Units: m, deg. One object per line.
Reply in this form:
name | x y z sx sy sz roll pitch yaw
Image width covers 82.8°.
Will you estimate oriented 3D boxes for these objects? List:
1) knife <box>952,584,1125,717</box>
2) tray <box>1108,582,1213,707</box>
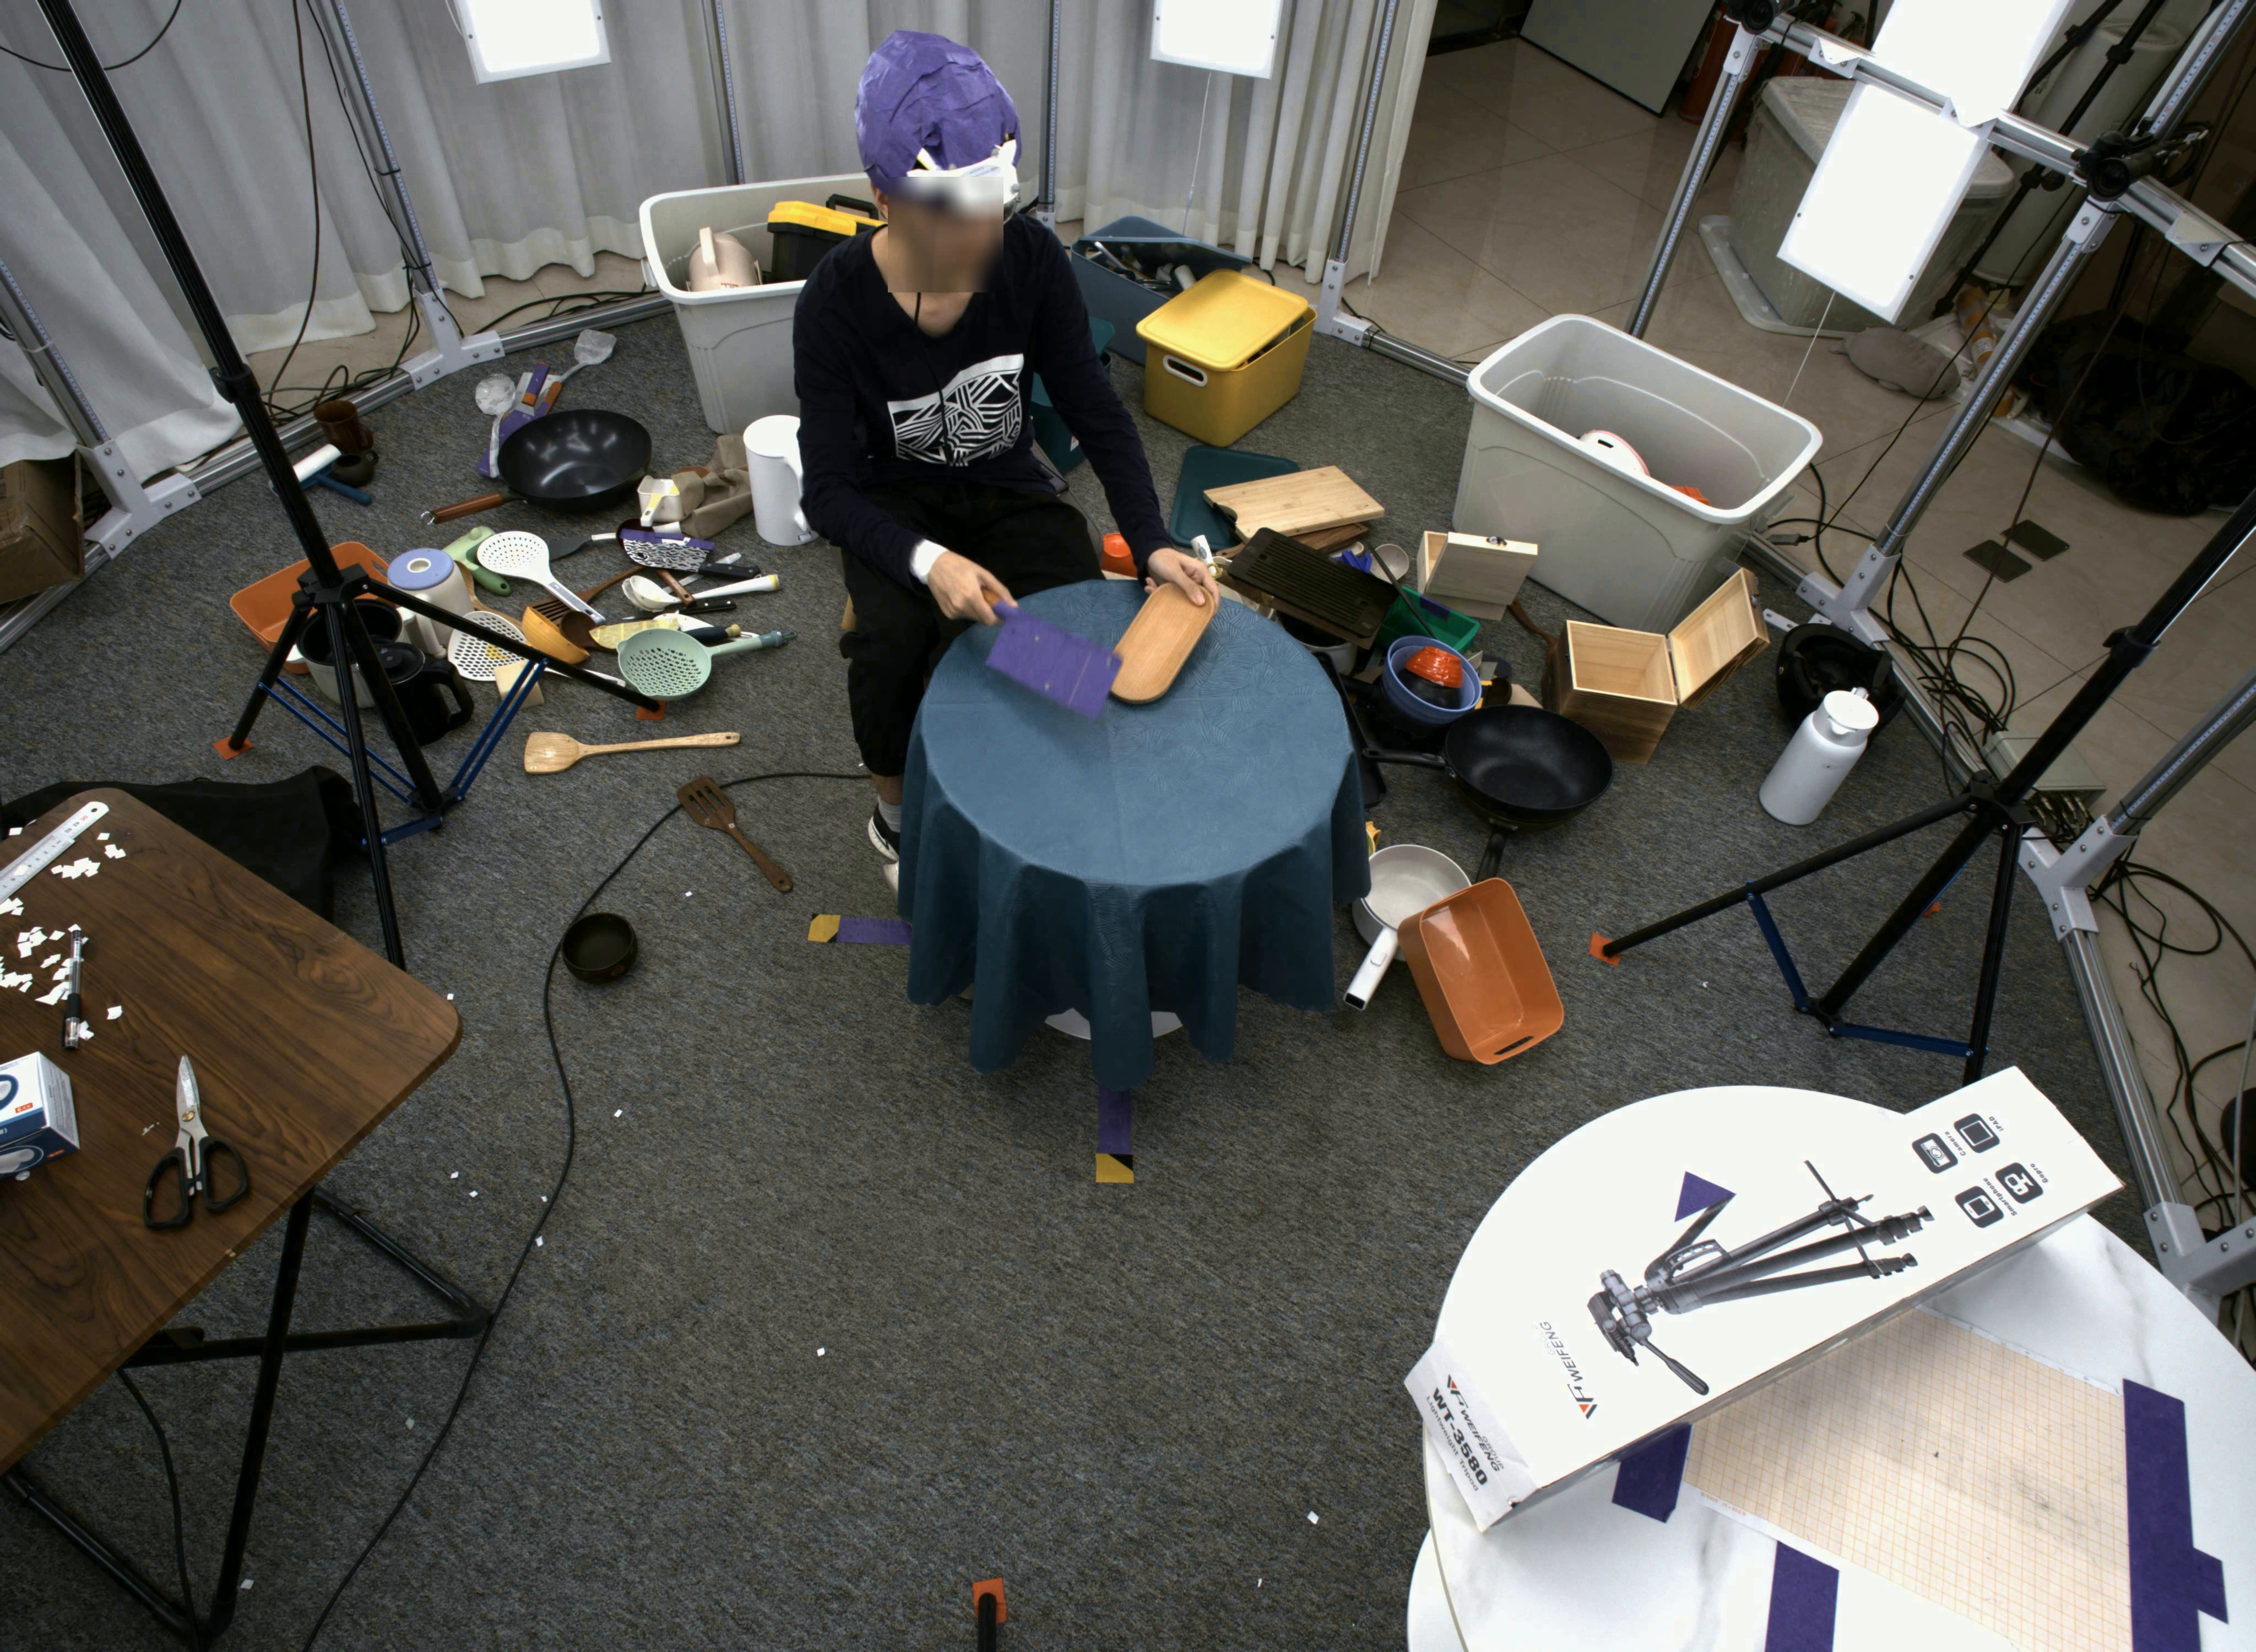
knife | -0.142 -0.245 1.785 0.320 0.032 0.103 30 94 32
tray | 0.046 -0.265 1.863 0.102 0.020 0.234 21 64 18
